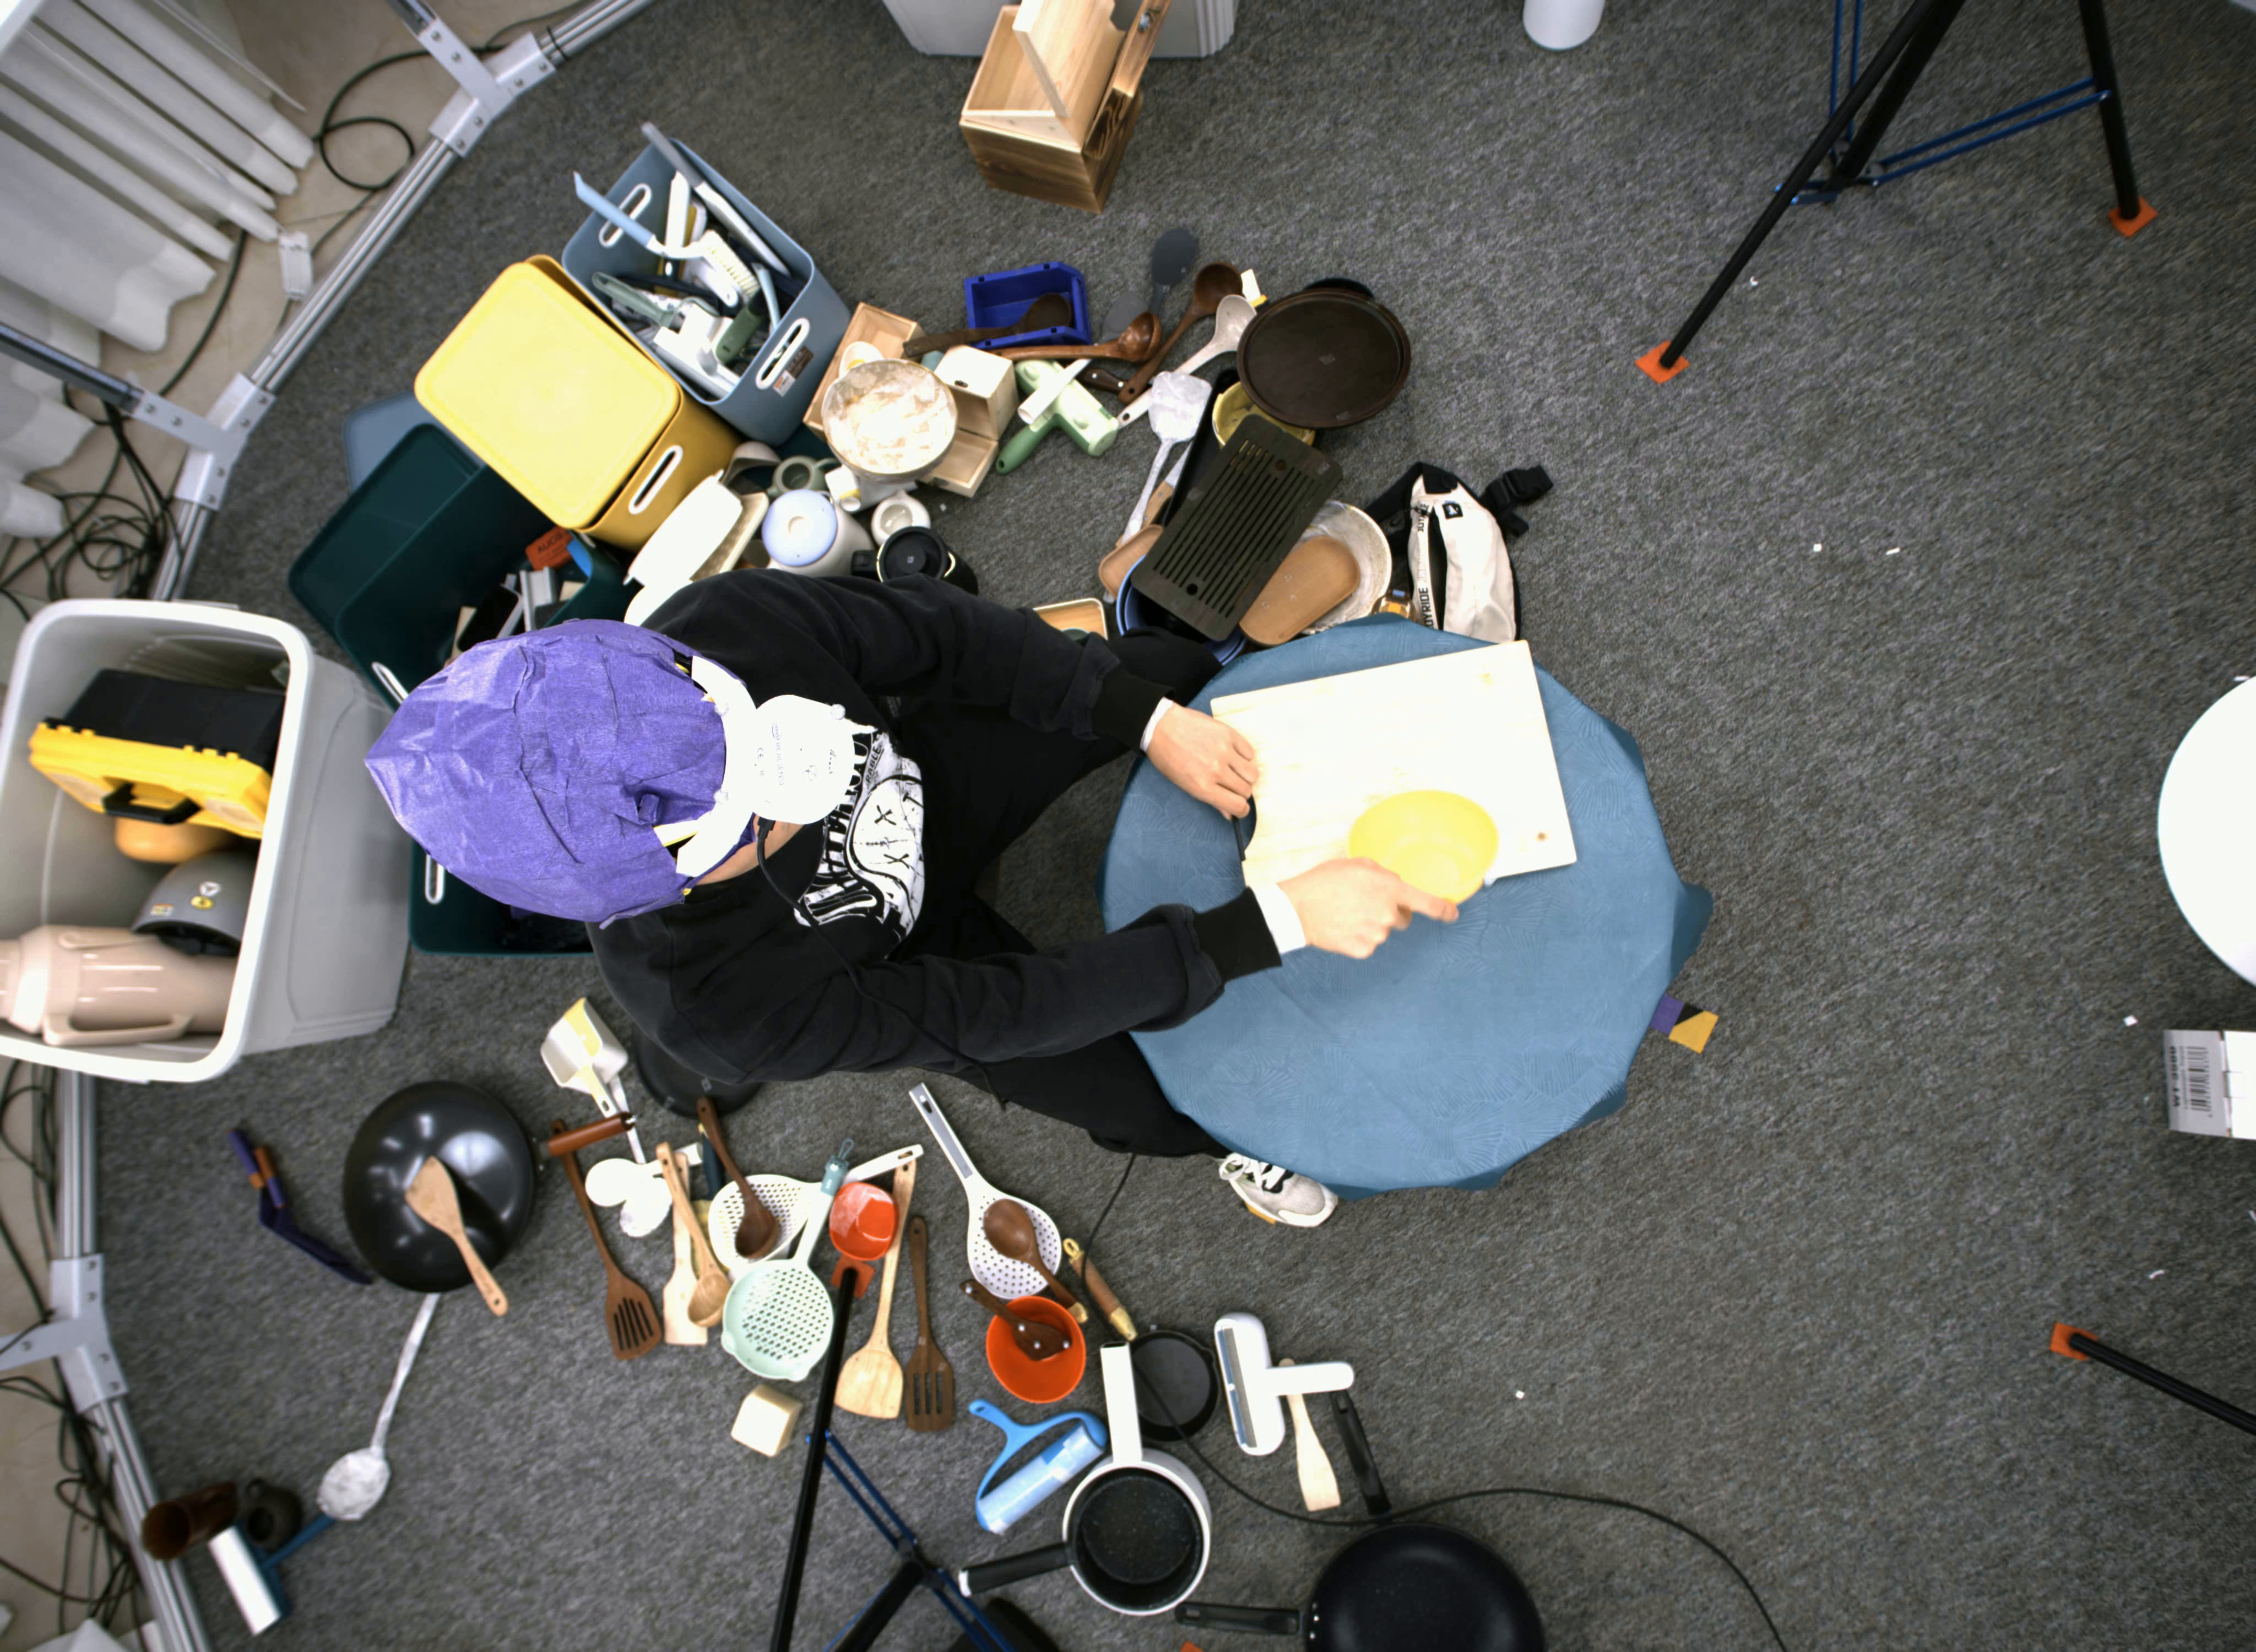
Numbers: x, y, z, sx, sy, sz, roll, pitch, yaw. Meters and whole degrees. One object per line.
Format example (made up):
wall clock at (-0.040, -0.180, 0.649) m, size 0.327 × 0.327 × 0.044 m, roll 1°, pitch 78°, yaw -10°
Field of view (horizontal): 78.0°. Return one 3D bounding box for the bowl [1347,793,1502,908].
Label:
bowl at (0.286, 0.033, 1.316) m, size 0.146 × 0.141 × 0.061 m, roll -11°, pitch 128°, yaw 9°

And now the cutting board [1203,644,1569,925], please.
cutting board at (0.271, -0.046, 1.443) m, size 0.349 × 0.023 × 0.249 m, roll -12°, pitch 84°, yaw 2°
